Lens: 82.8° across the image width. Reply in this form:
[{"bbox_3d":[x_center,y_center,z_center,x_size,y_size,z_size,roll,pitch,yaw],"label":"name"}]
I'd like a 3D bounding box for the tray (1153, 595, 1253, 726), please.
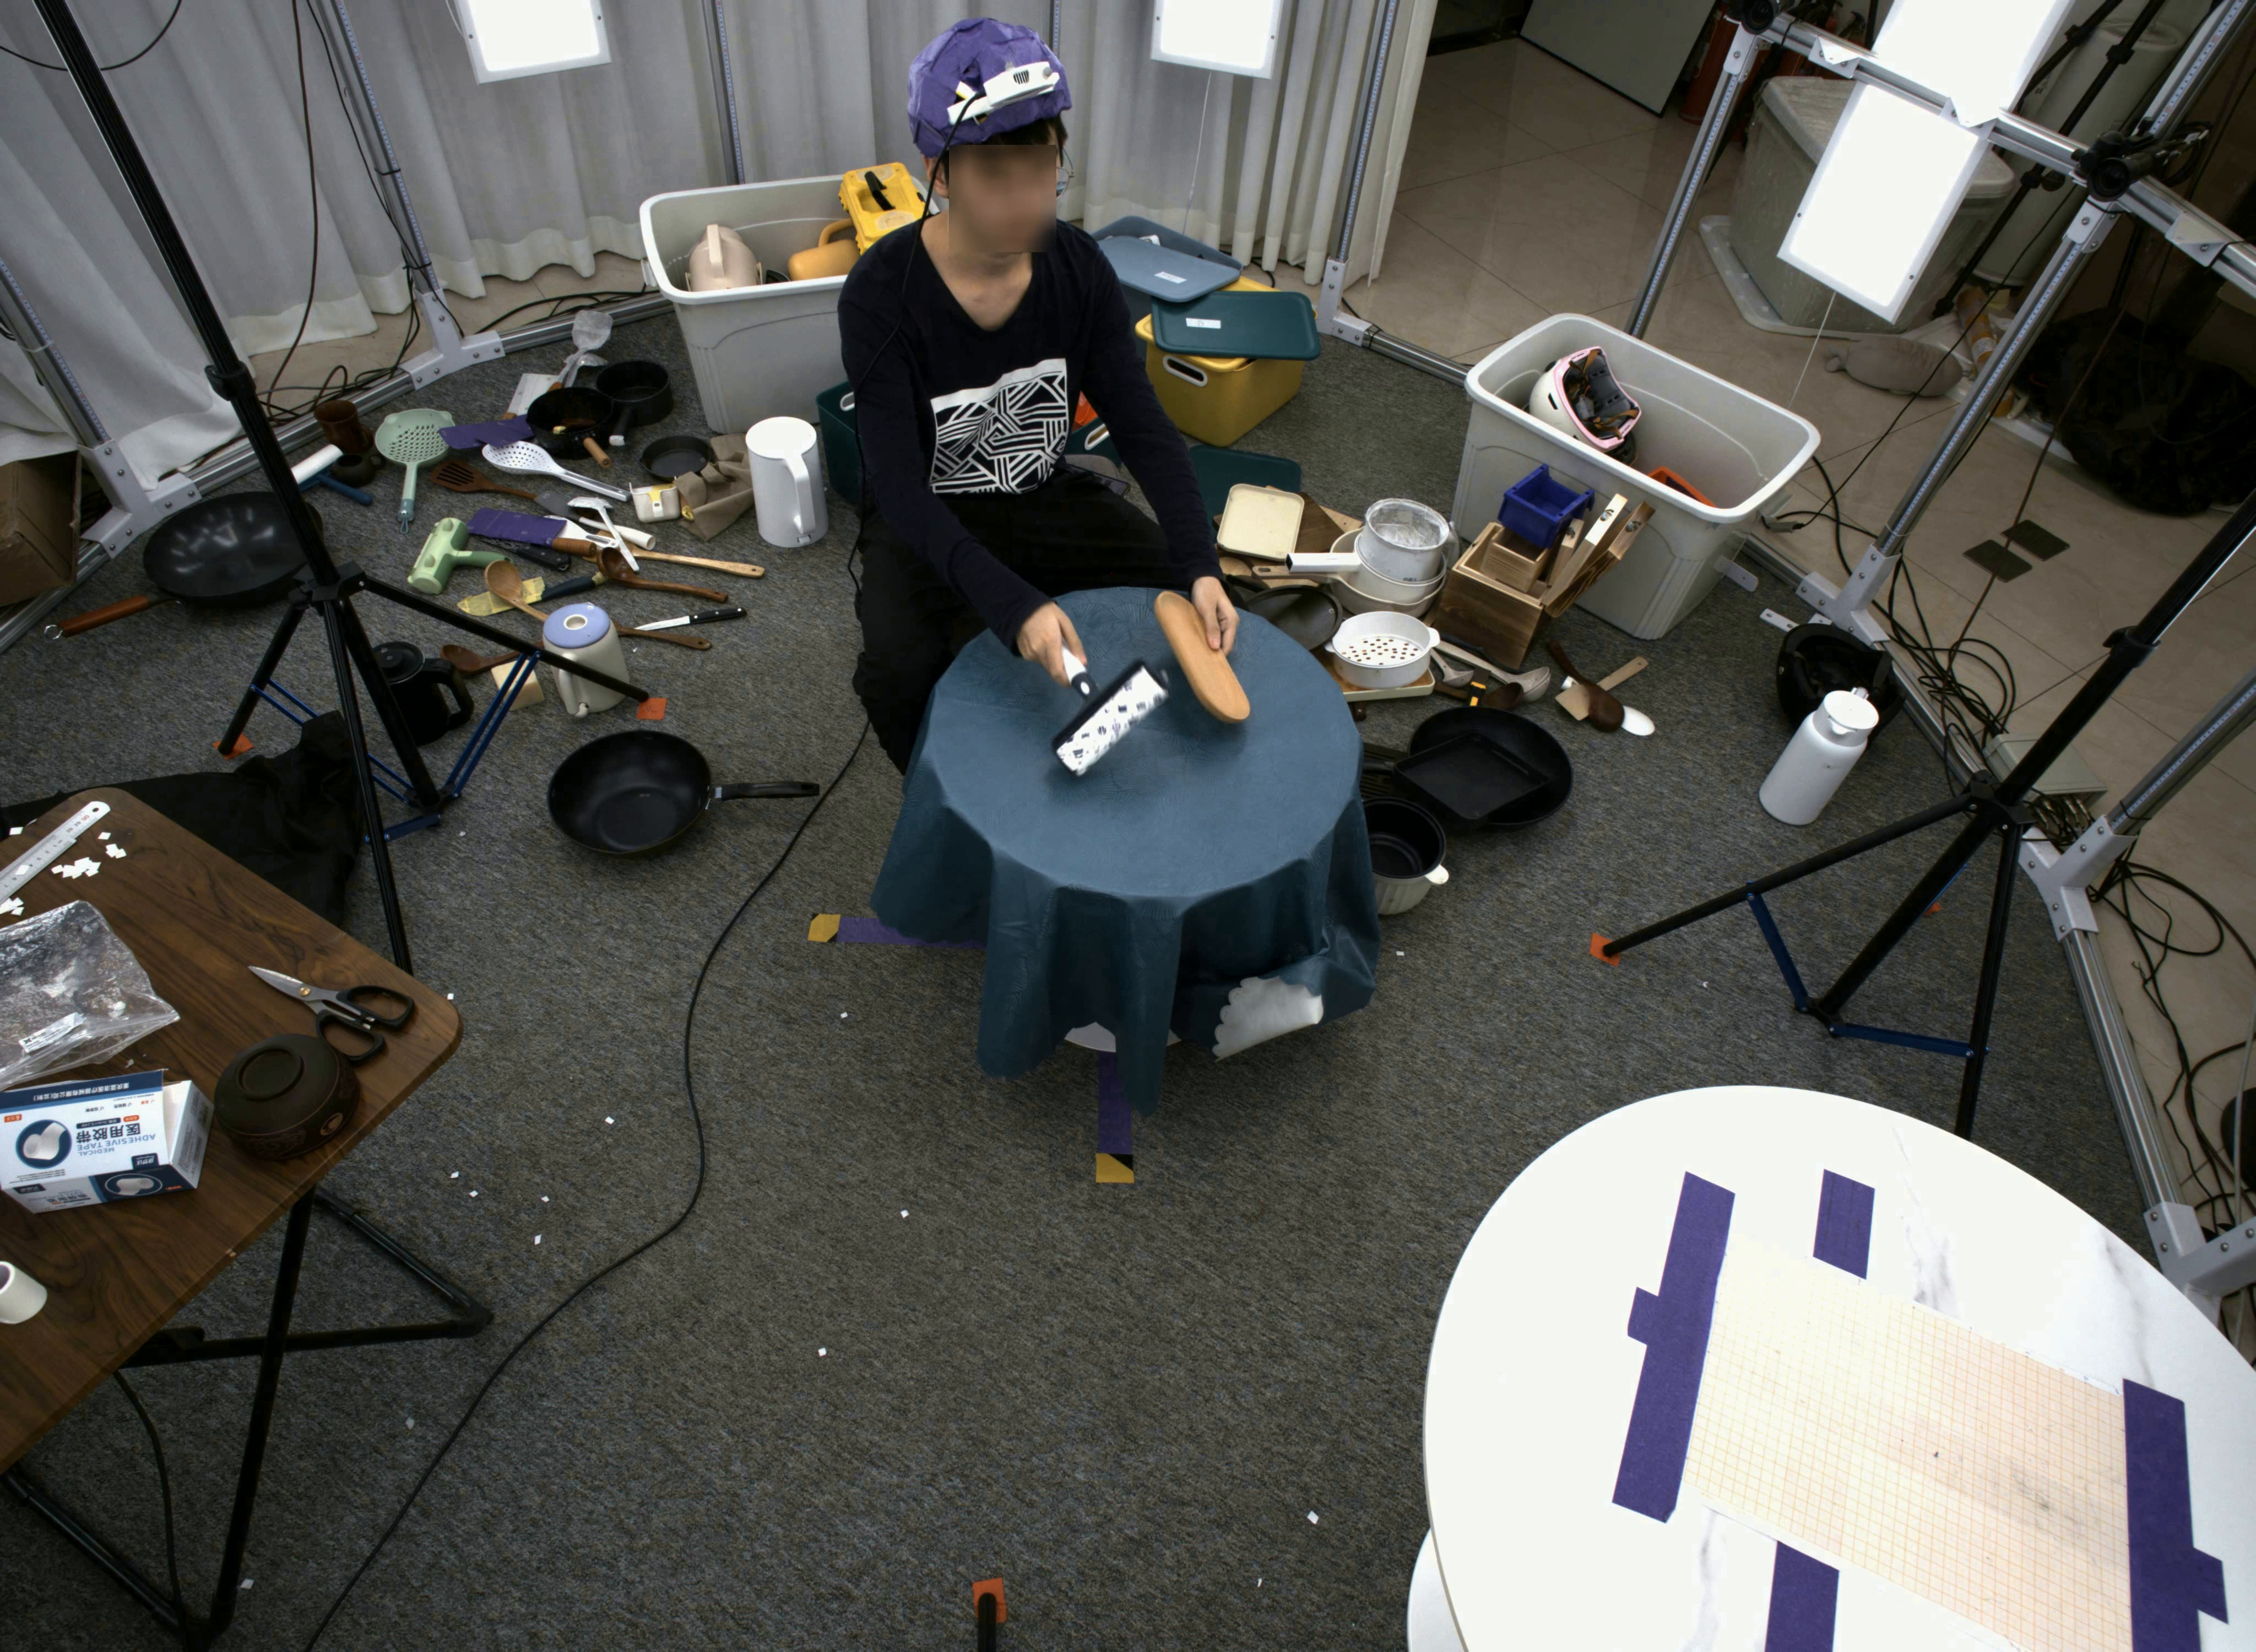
[{"bbox_3d":[0.104,-0.233,1.799,0.101,0.020,0.235,1,54,-43],"label":"tray"}]

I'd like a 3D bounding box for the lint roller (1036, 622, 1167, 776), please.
[{"bbox_3d":[-0.072,-0.201,1.742,0.176,0.049,0.252,-40,55,7],"label":"lint roller"}]
